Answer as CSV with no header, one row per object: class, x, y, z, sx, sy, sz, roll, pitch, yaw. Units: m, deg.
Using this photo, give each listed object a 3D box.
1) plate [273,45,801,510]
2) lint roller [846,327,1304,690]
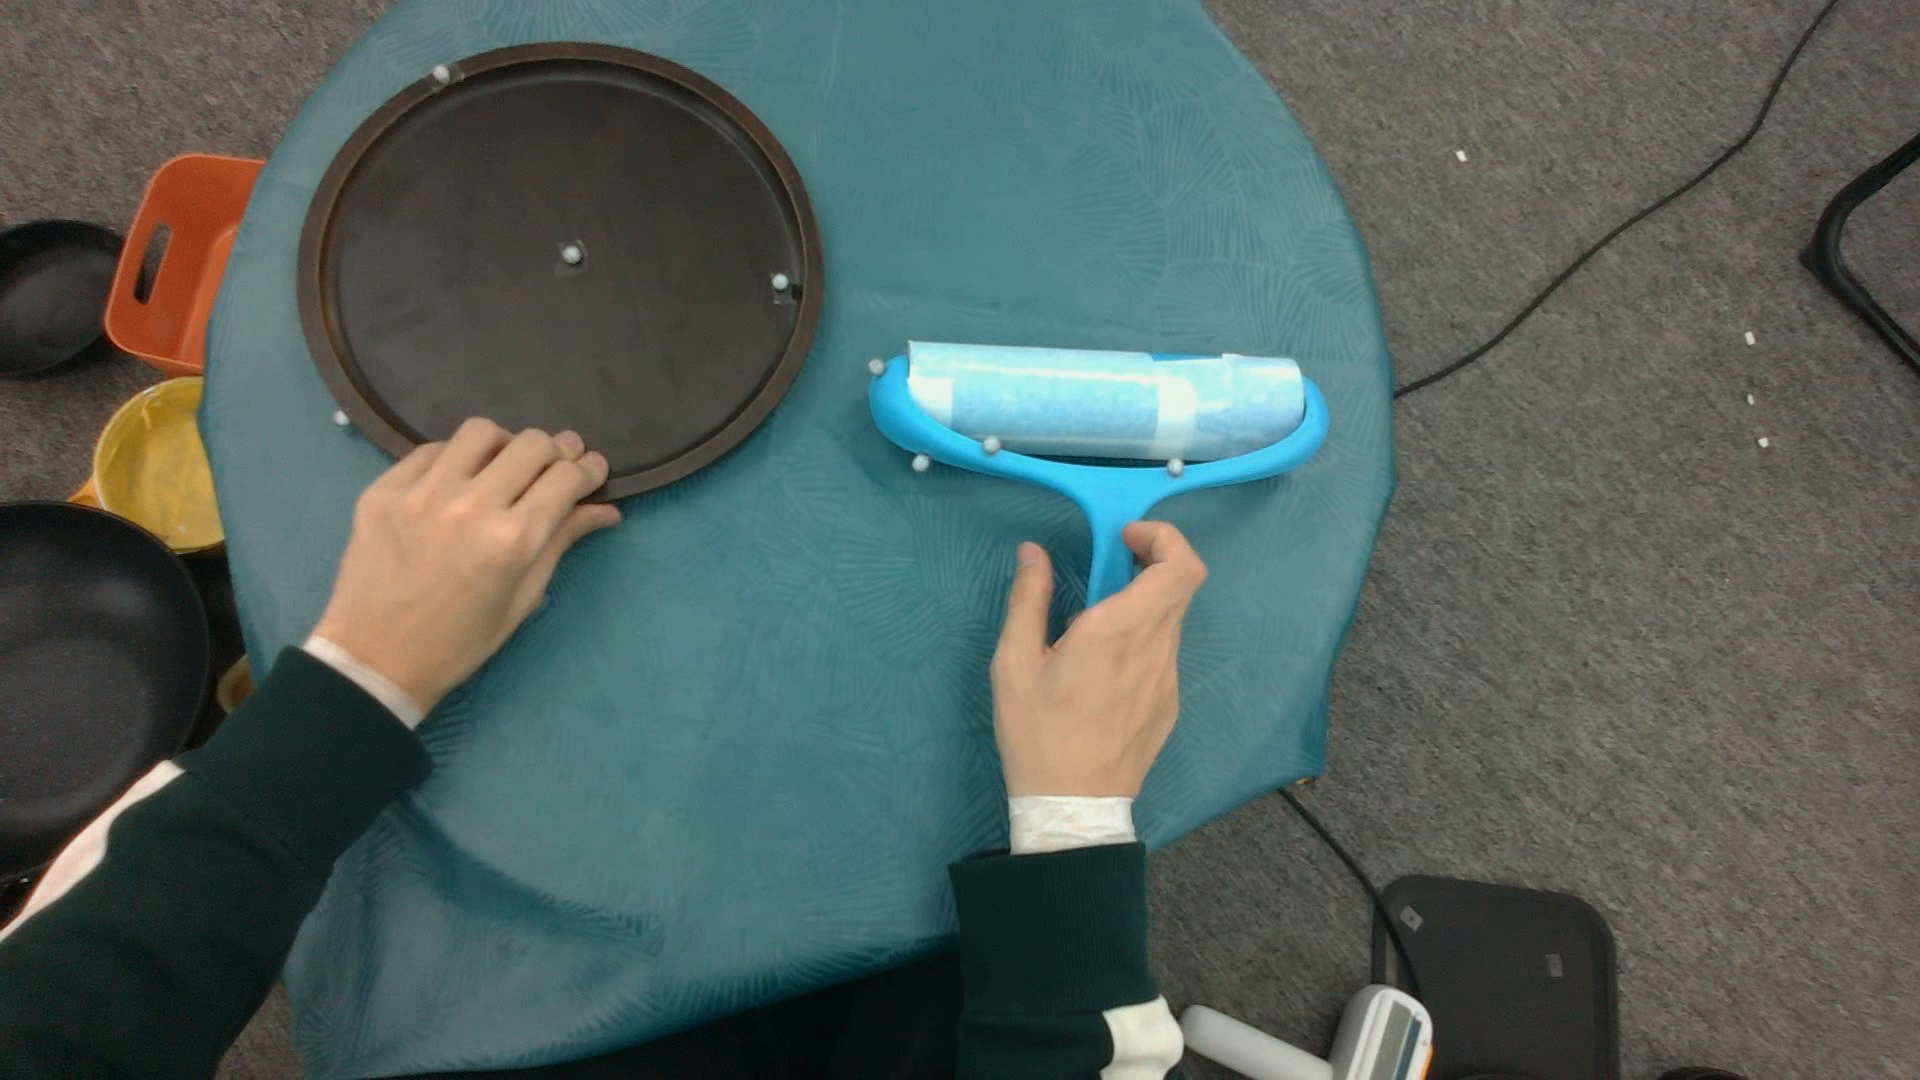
plate,-0.207,-0.134,0.689,0.255,0.029,0.255,1,73,-5
lint roller,0.063,-0.022,0.667,0.229,0.067,0.180,-2,73,-8
